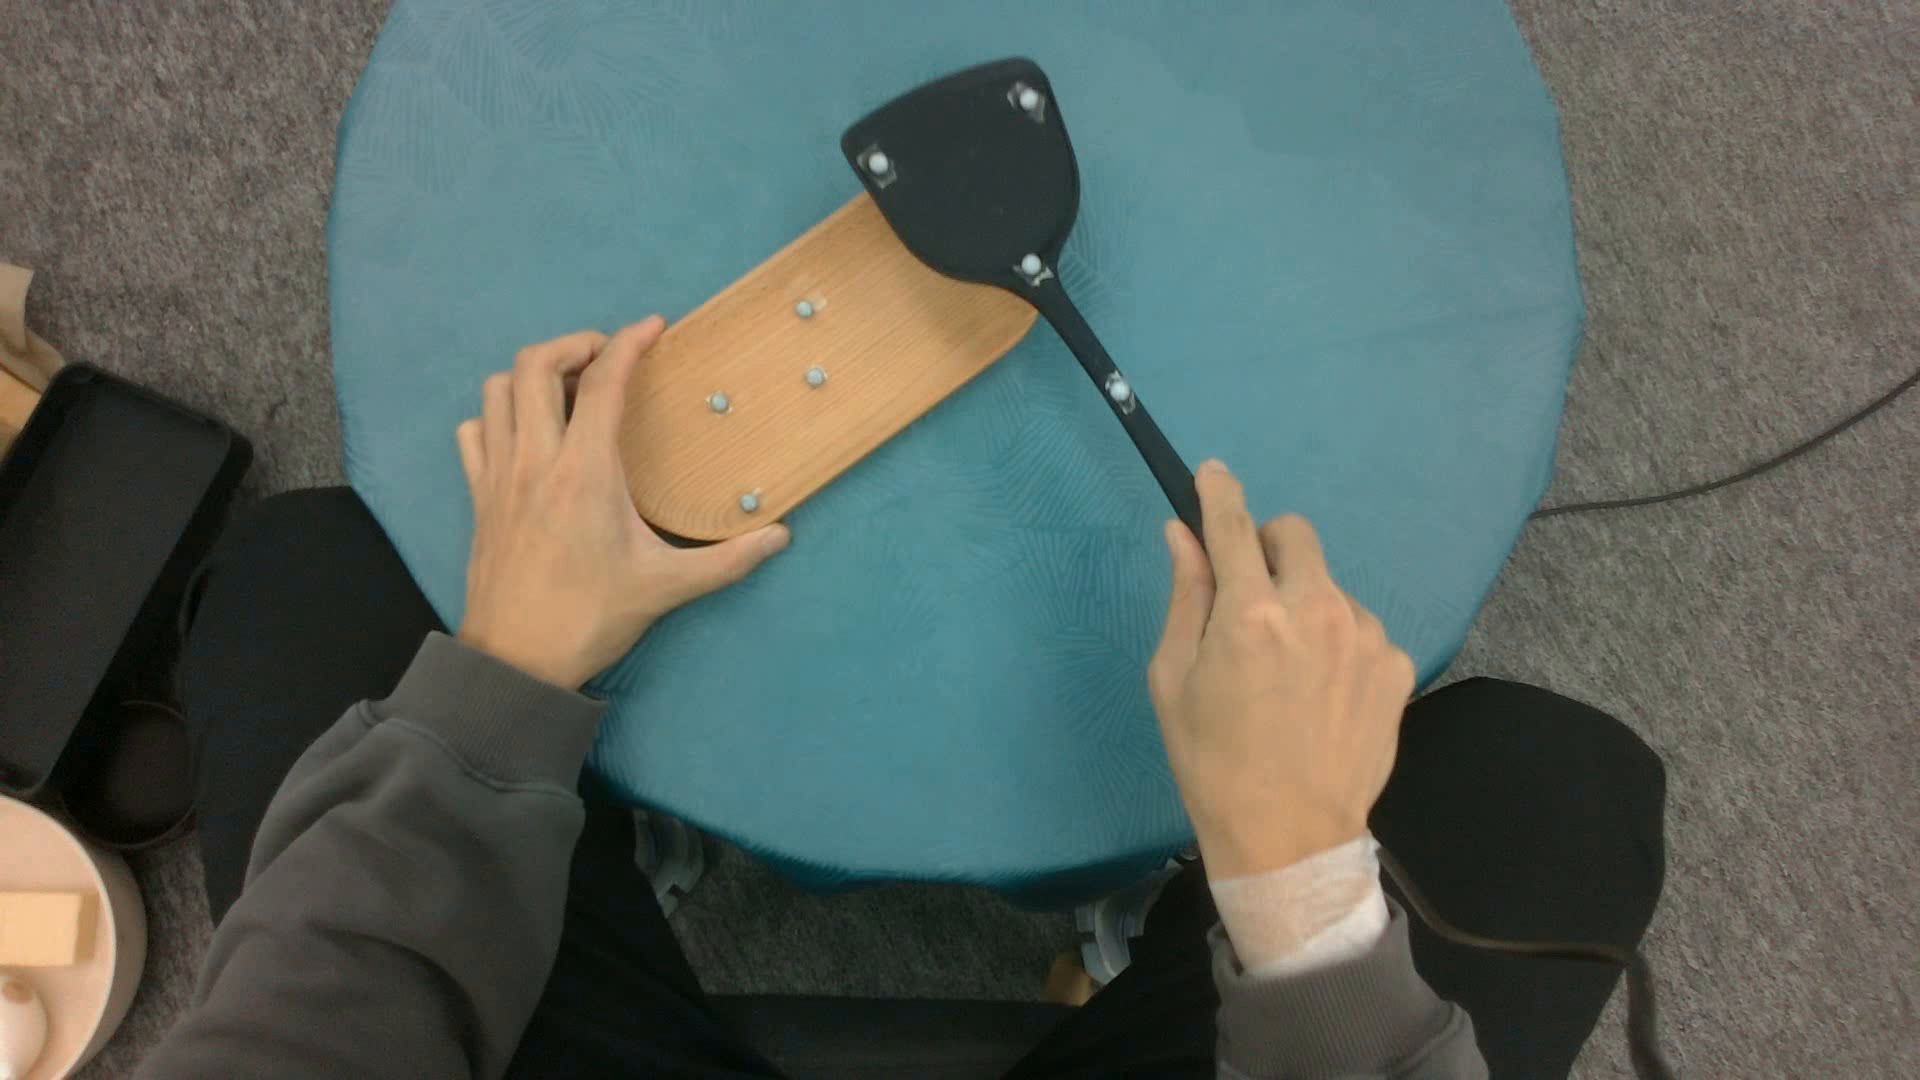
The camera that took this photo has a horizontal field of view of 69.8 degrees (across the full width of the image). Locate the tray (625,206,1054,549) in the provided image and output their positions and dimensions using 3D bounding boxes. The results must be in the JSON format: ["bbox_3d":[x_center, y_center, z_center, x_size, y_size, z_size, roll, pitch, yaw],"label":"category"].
[{"bbox_3d":[-0.055,-0.084,0.660,0.231,0.020,0.102,-37,86,-8],"label":"tray"}]

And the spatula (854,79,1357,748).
[{"bbox_3d":[0.070,-0.057,0.572,0.100,0.040,0.326,-27,69,-11],"label":"spatula"}]
